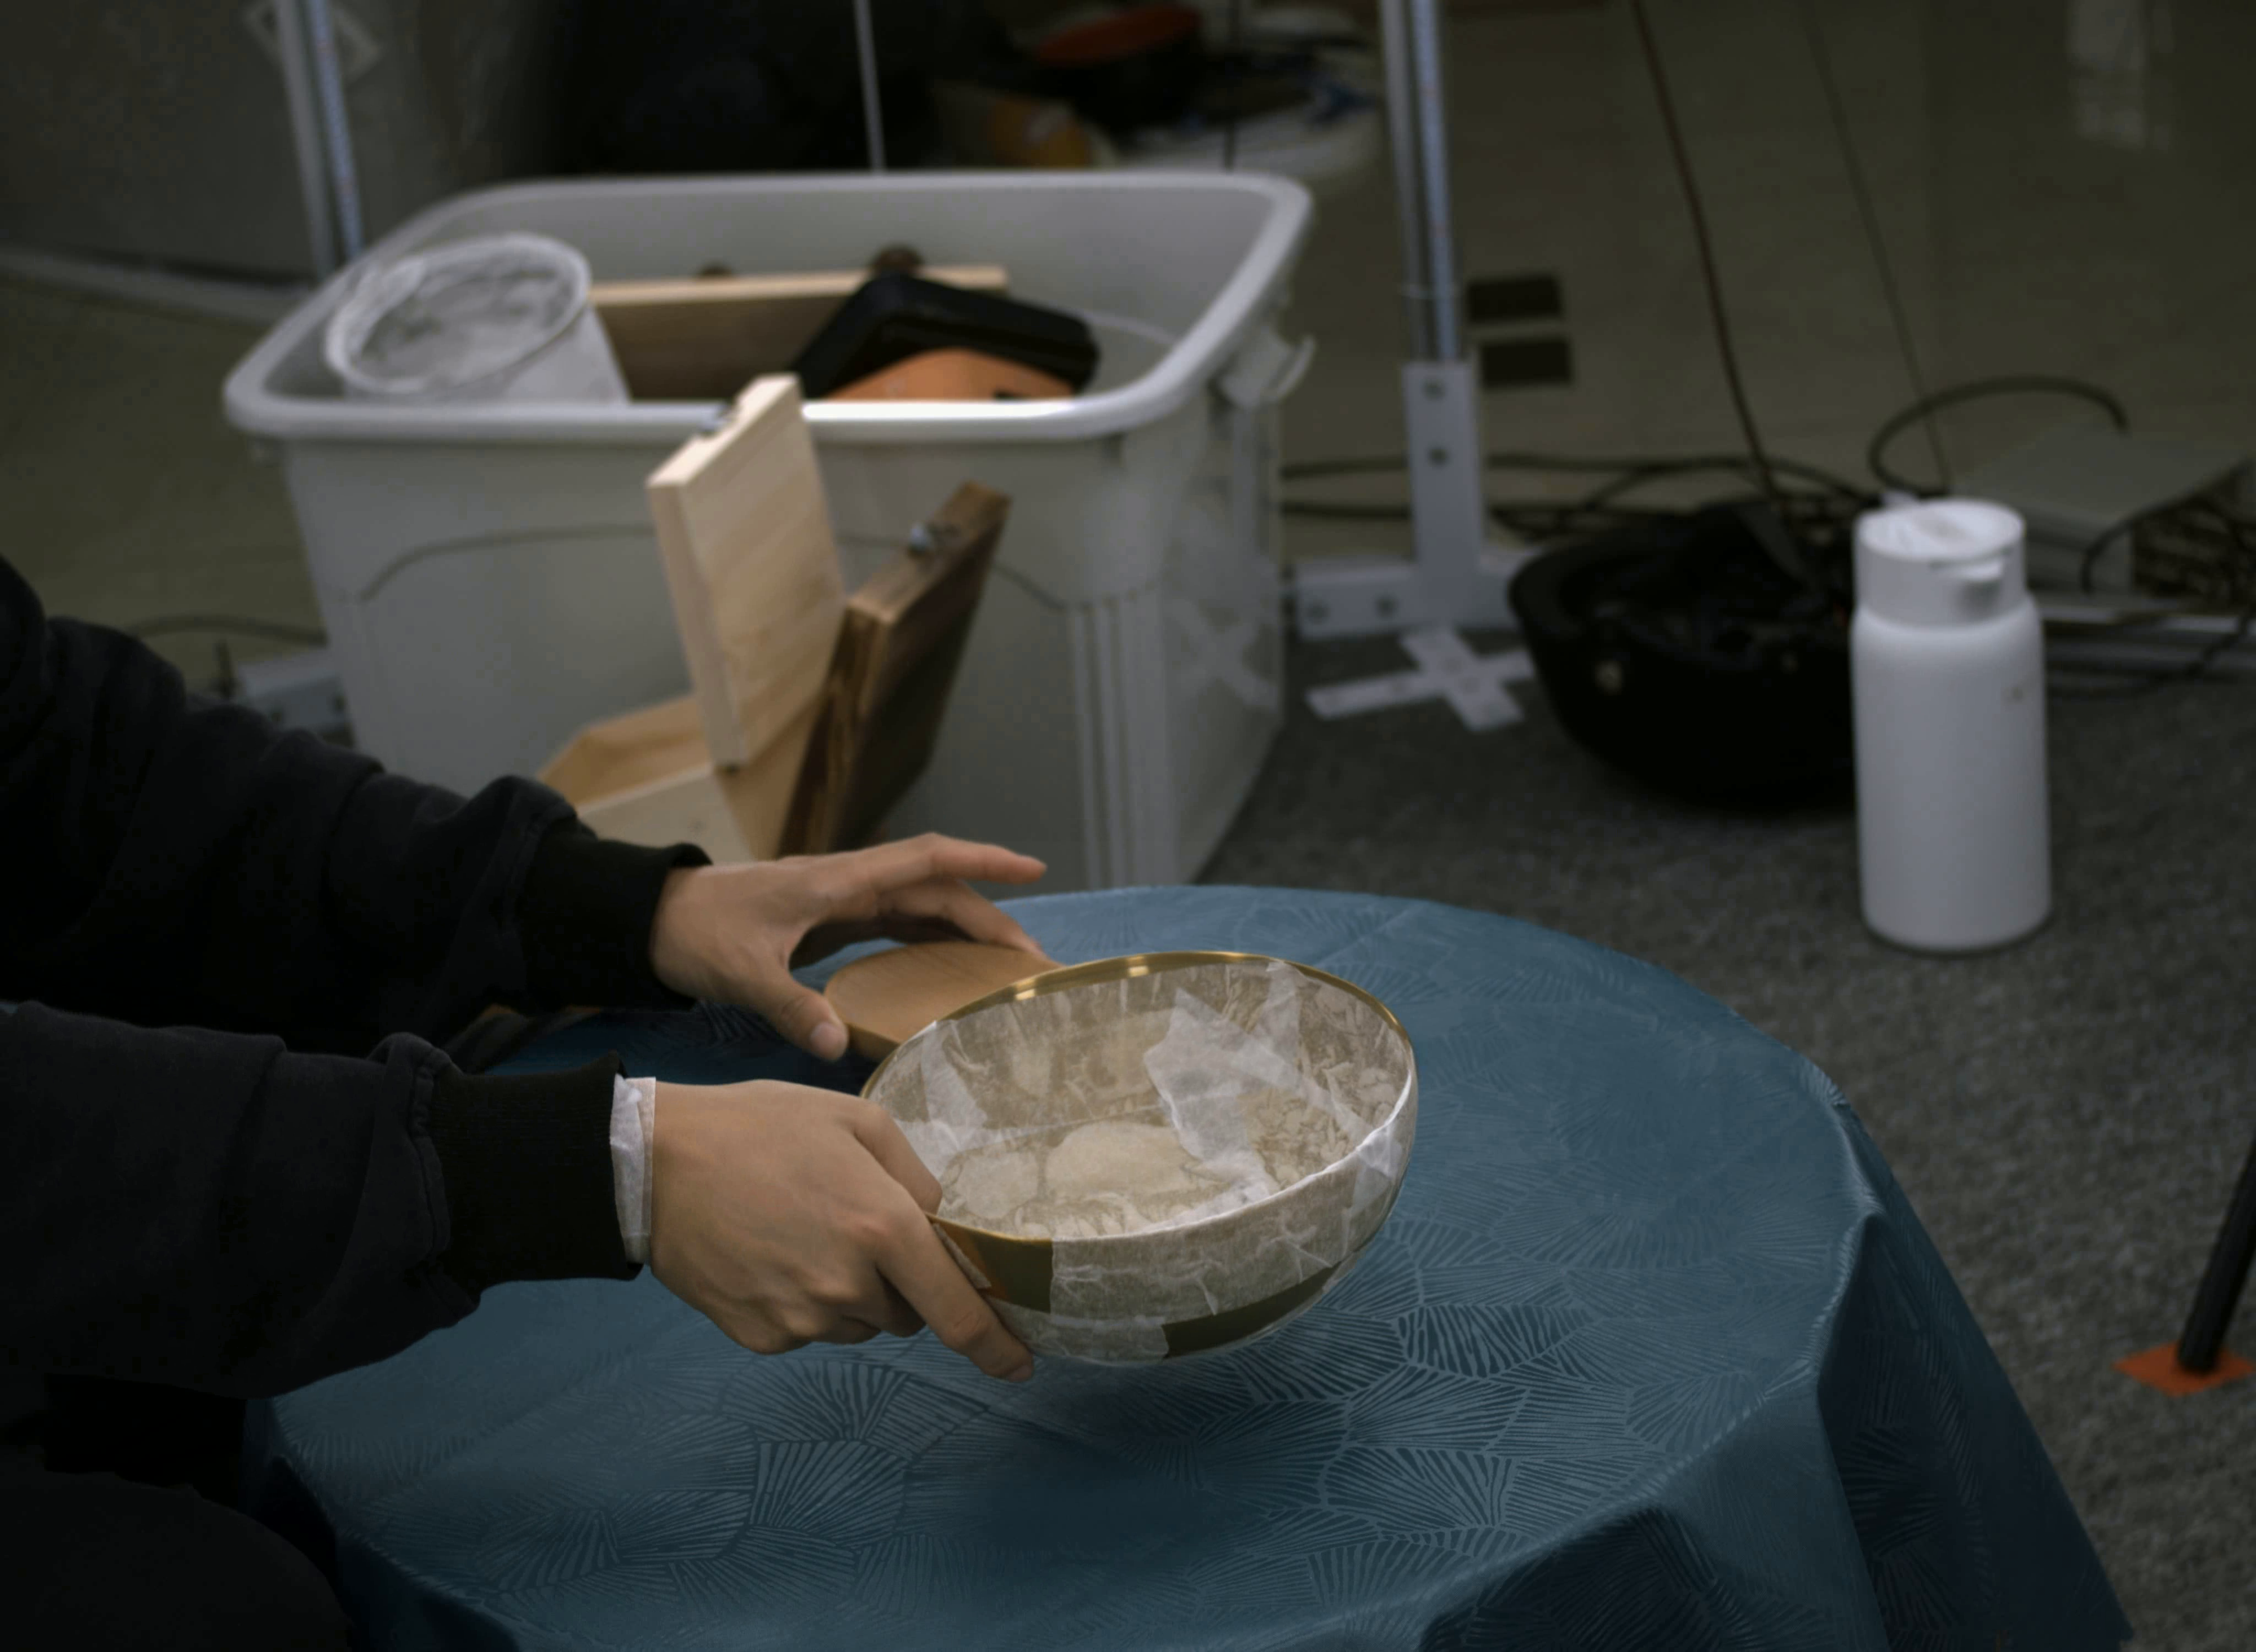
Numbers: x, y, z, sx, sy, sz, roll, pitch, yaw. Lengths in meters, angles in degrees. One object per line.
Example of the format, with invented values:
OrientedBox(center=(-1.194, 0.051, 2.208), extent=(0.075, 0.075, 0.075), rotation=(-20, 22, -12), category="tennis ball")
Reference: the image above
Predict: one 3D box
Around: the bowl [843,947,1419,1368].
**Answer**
OrientedBox(center=(0.006, 0.129, 2.011), extent=(0.214, 0.096, 0.211), rotation=(-7, 27, 4), category="bowl")

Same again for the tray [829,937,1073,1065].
OrientedBox(center=(-0.019, 0.090, 2.228), extent=(0.229, 0.020, 0.101), rotation=(21, 33, 35), category="tray")
